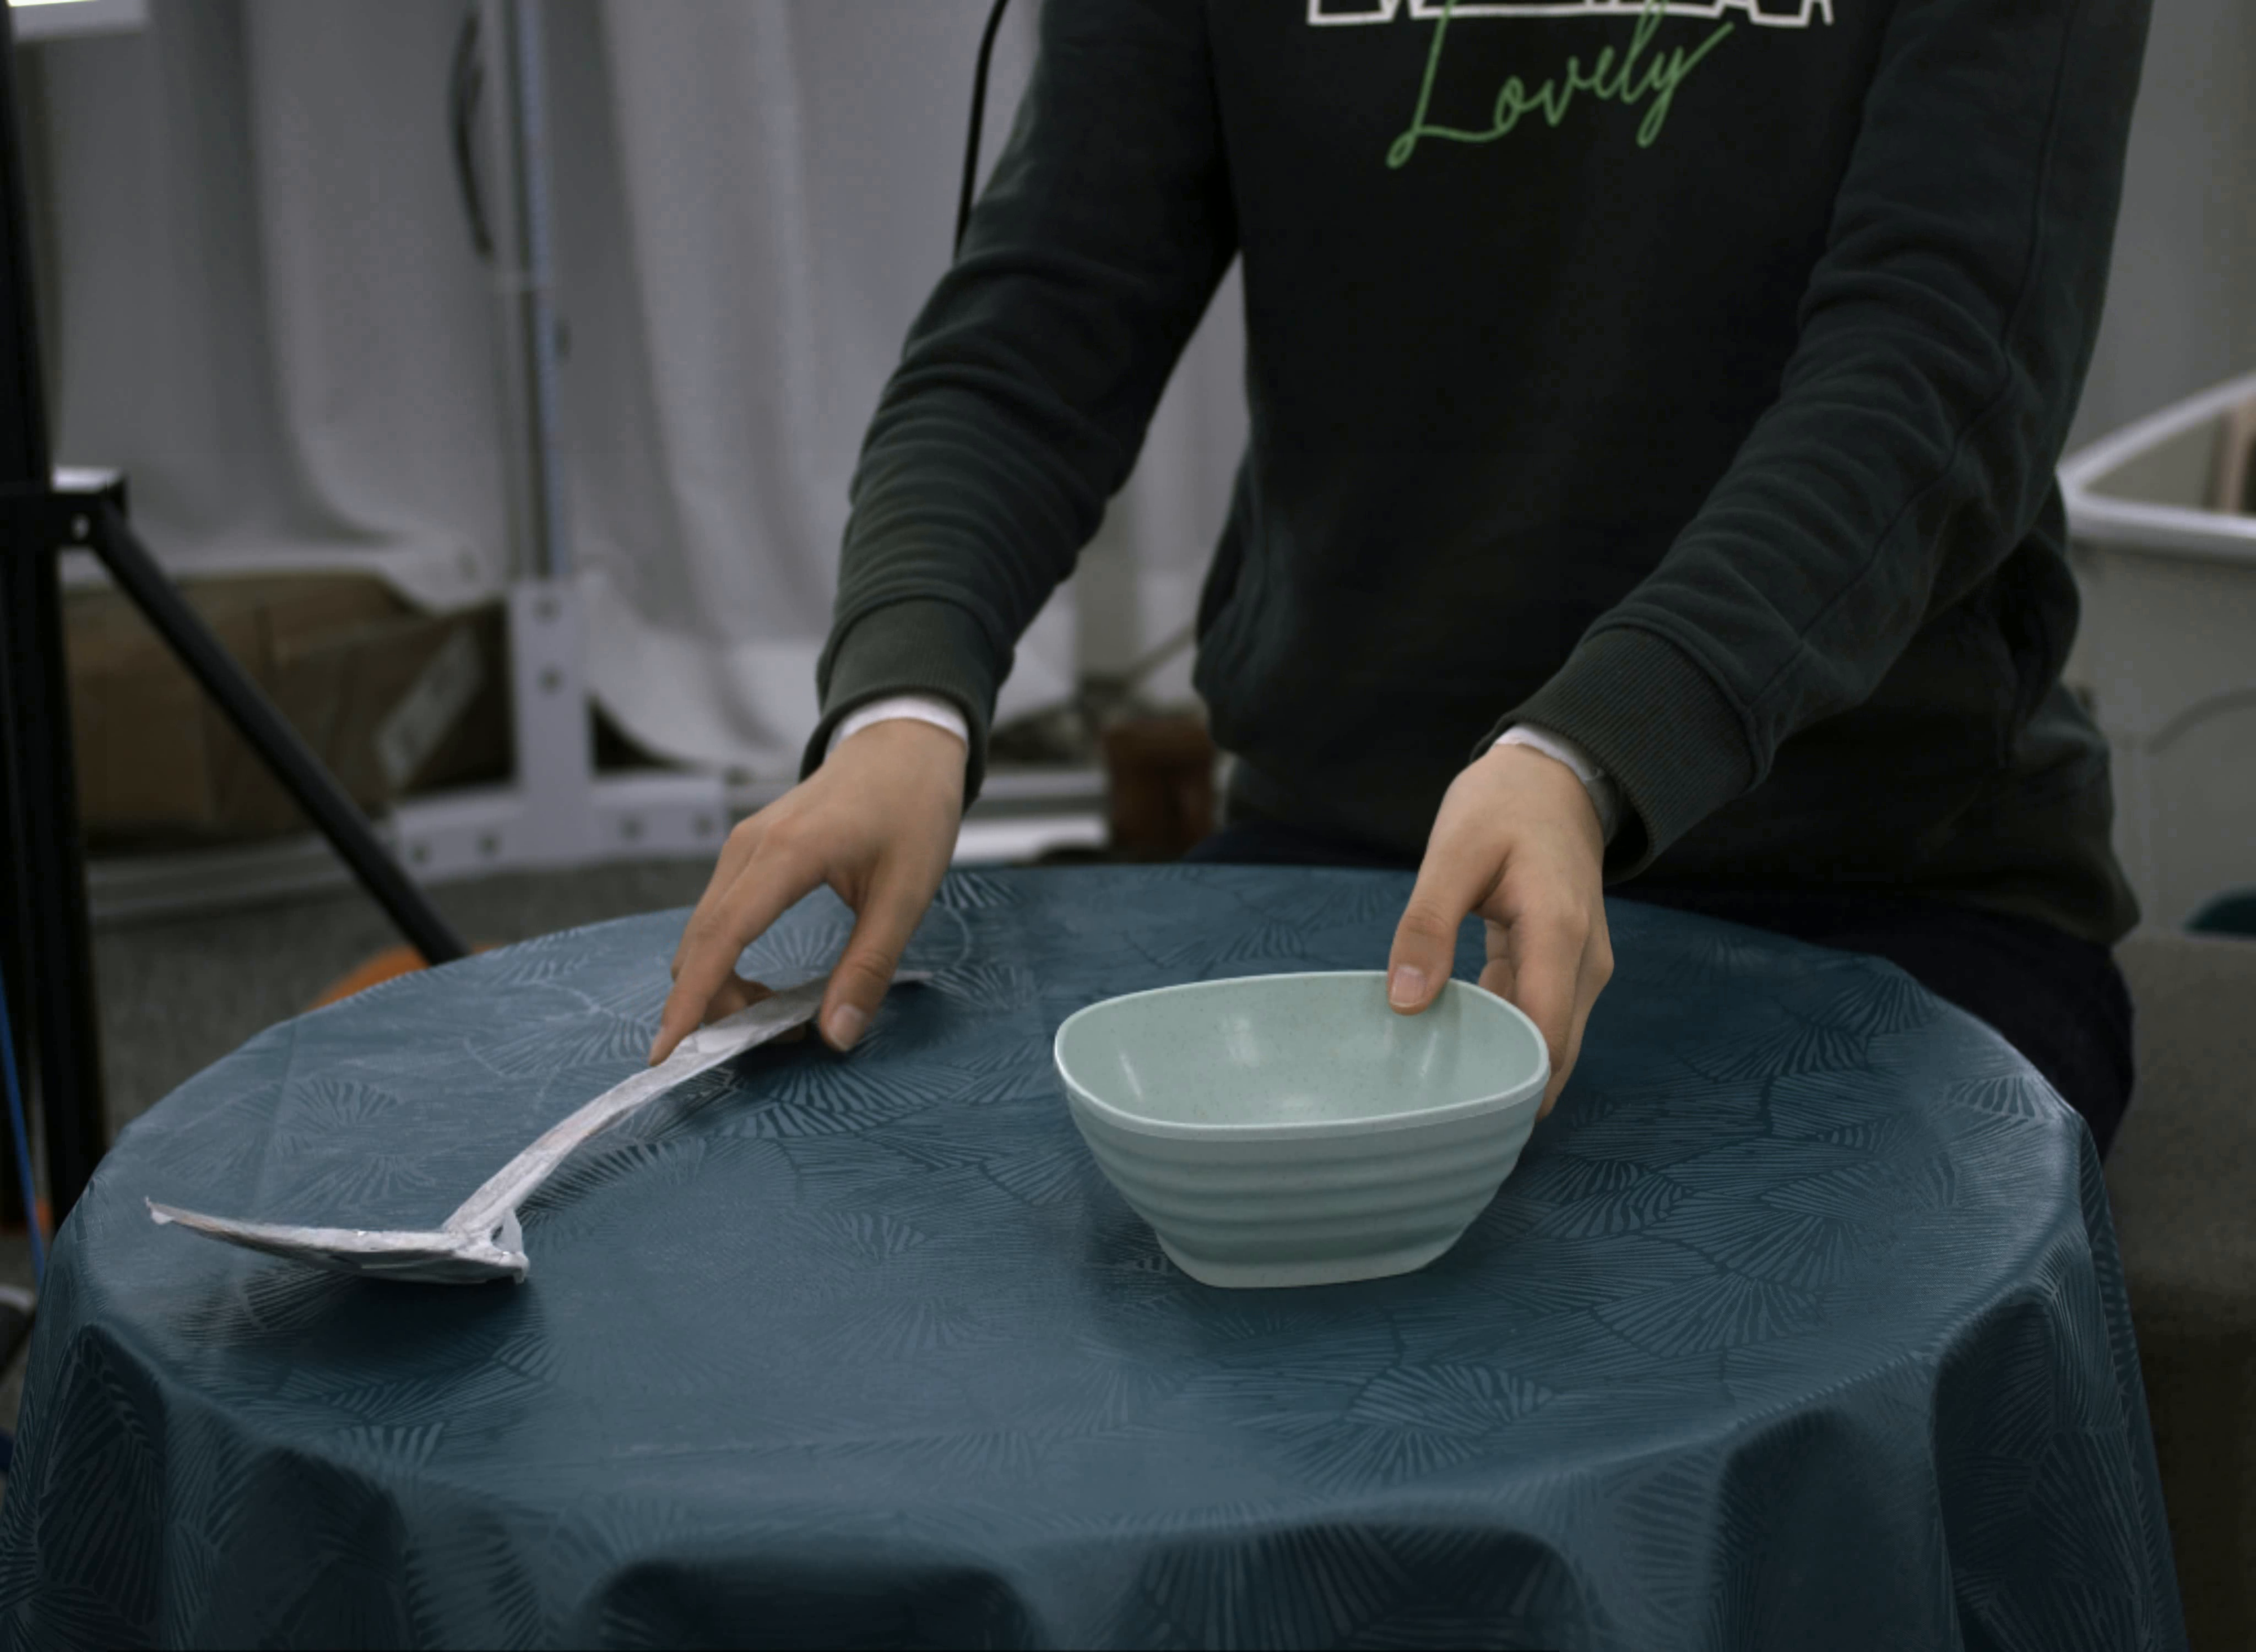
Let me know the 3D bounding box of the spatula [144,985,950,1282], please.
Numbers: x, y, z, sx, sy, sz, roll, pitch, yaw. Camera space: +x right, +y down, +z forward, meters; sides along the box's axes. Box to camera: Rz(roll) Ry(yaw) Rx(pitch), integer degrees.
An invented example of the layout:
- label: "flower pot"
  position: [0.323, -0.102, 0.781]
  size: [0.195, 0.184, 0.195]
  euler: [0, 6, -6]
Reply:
- label: "spatula"
  position: [-0.153, 0.082, 1.603]
  size: [0.100, 0.045, 0.359]
  euler: [4, 17, 28]

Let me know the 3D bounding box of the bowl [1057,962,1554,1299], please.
- label: "bowl"
  position: [0.051, 0.091, 1.510]
  size: [0.151, 0.058, 0.152]
  euler: [-4, 18, 0]
